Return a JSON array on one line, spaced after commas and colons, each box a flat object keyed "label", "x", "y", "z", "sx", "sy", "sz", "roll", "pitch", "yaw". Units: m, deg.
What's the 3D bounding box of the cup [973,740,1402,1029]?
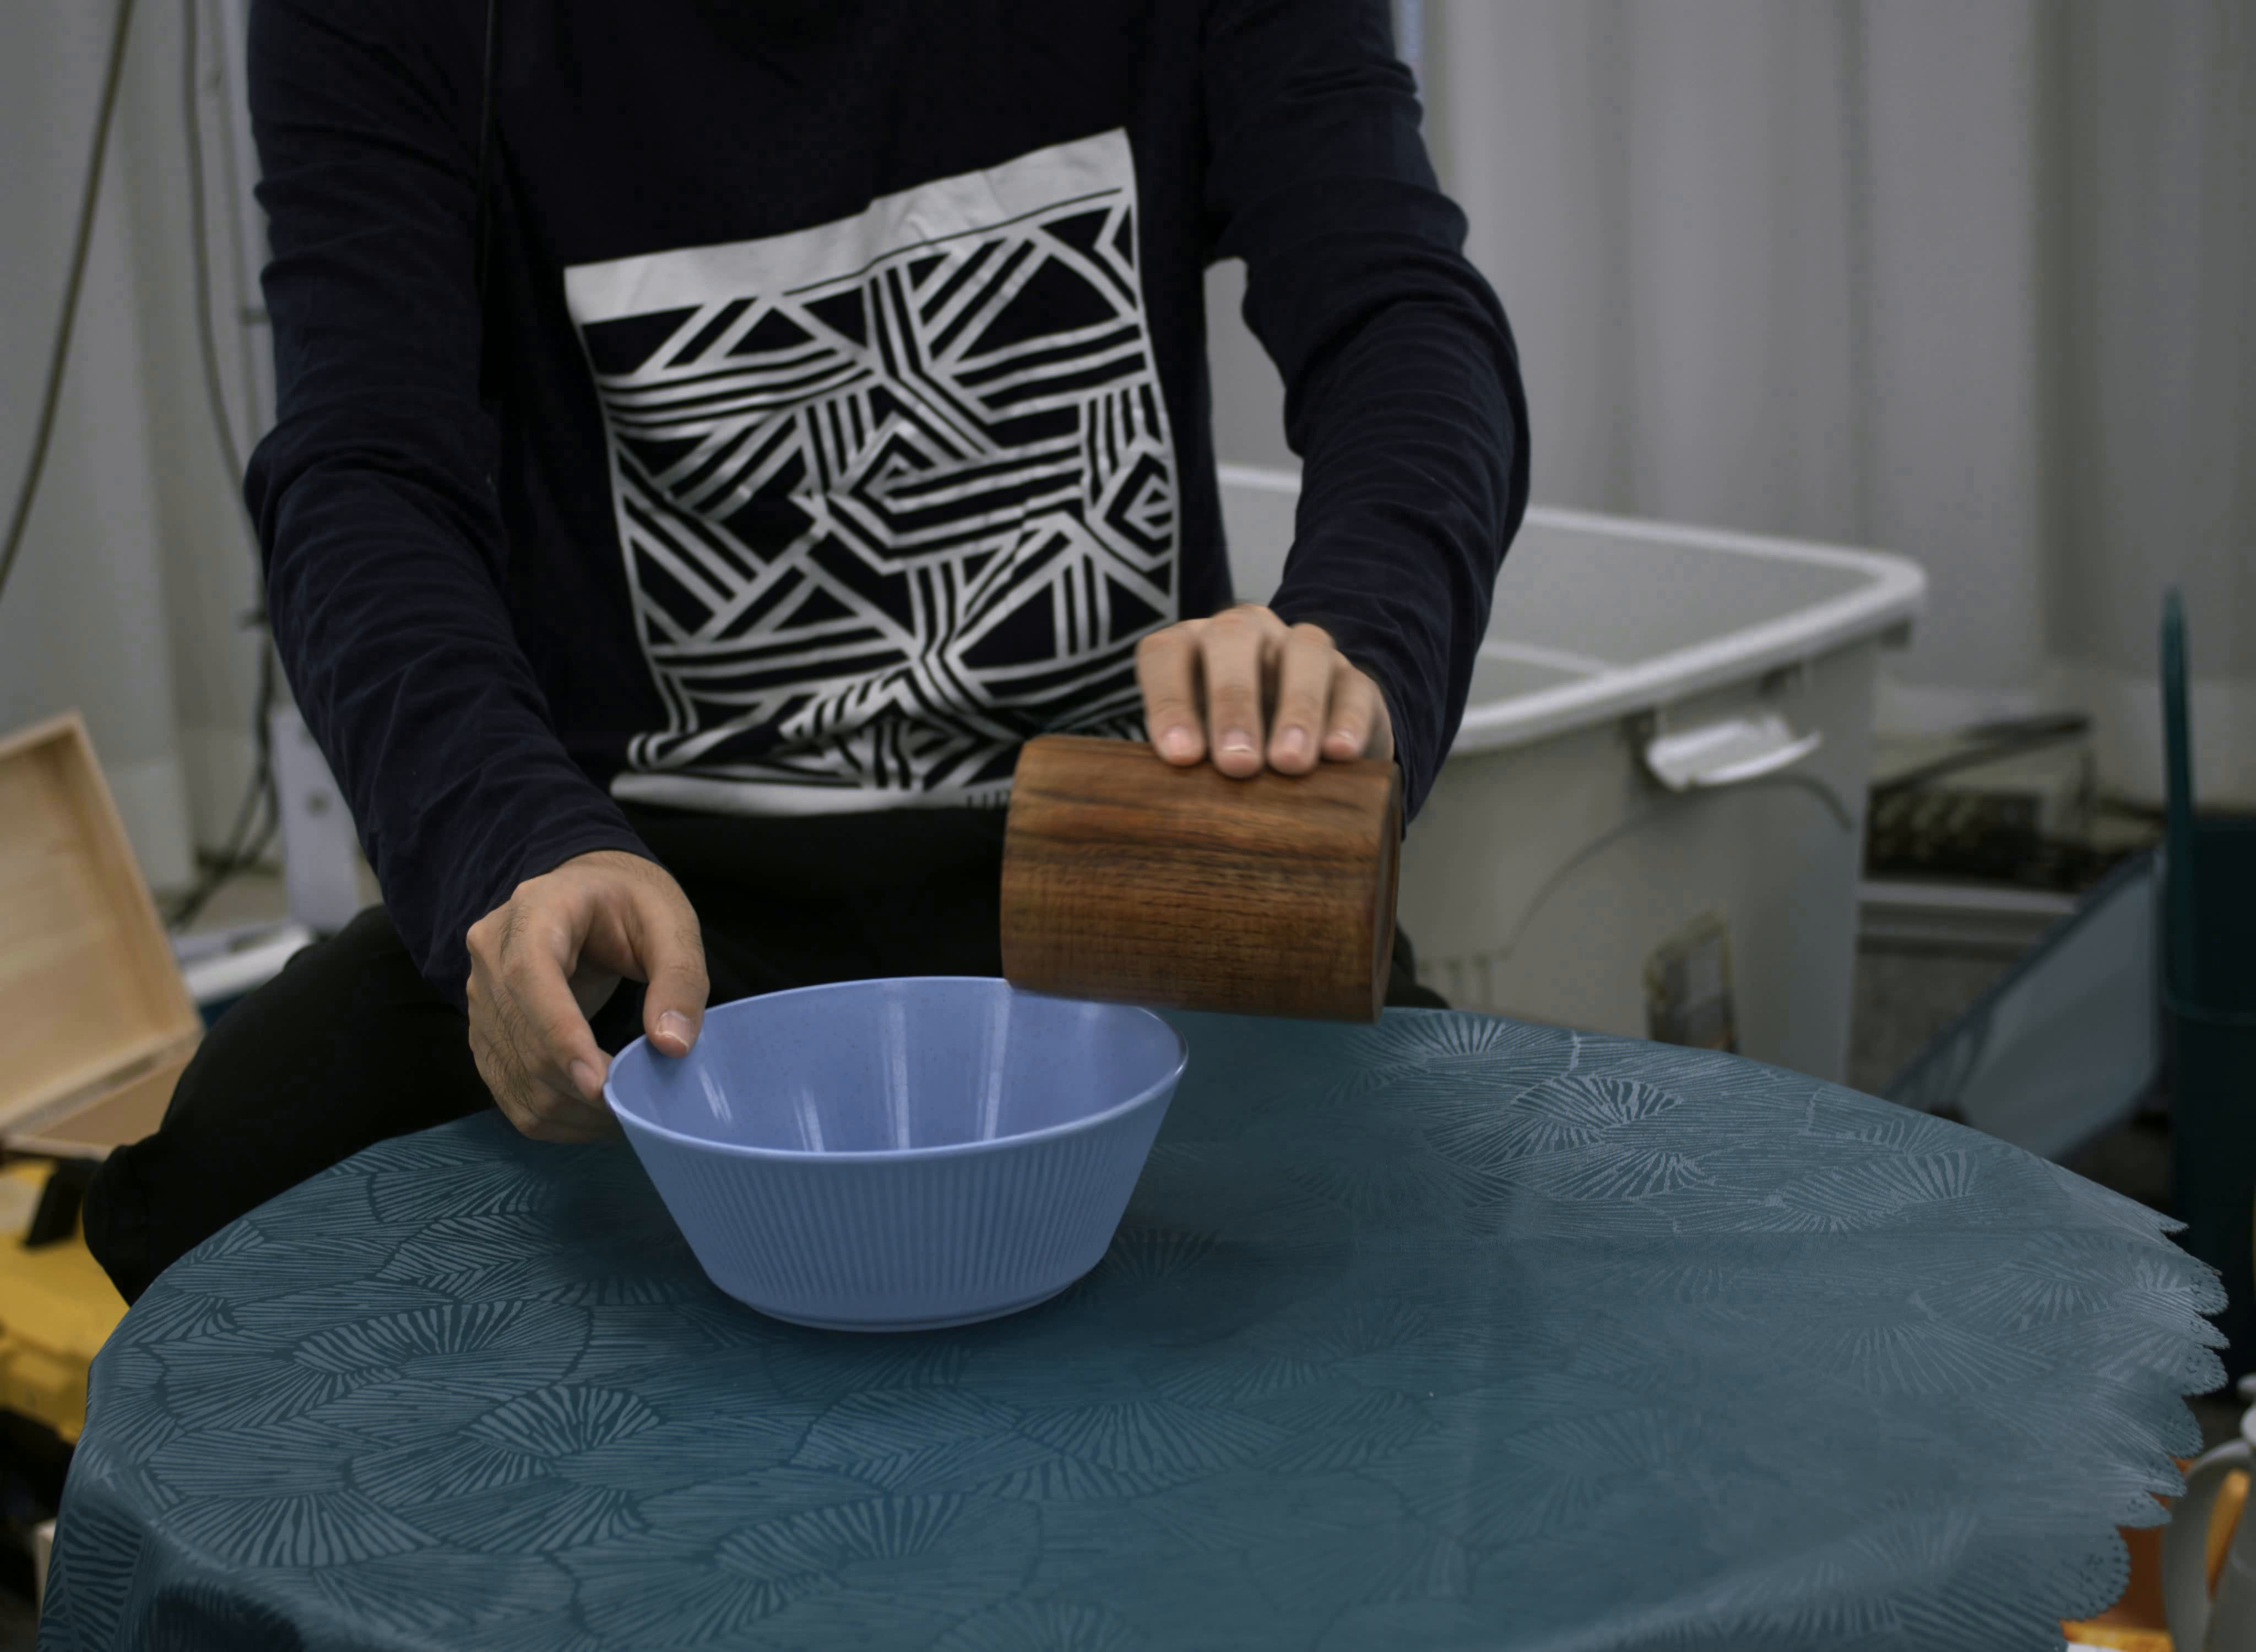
[{"label": "cup", "x": 0.018, "y": 0.019, "z": 1.633, "sx": 0.118, "sy": 0.087, "sz": 0.088, "roll": 4, "pitch": 15, "yaw": 11}]

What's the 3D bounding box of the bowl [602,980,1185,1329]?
[{"label": "bowl", "x": -0.069, "y": 0.101, "z": 1.645, "sx": 0.175, "sy": 0.070, "sz": 0.177, "roll": -2, "pitch": 14, "yaw": 0}]
